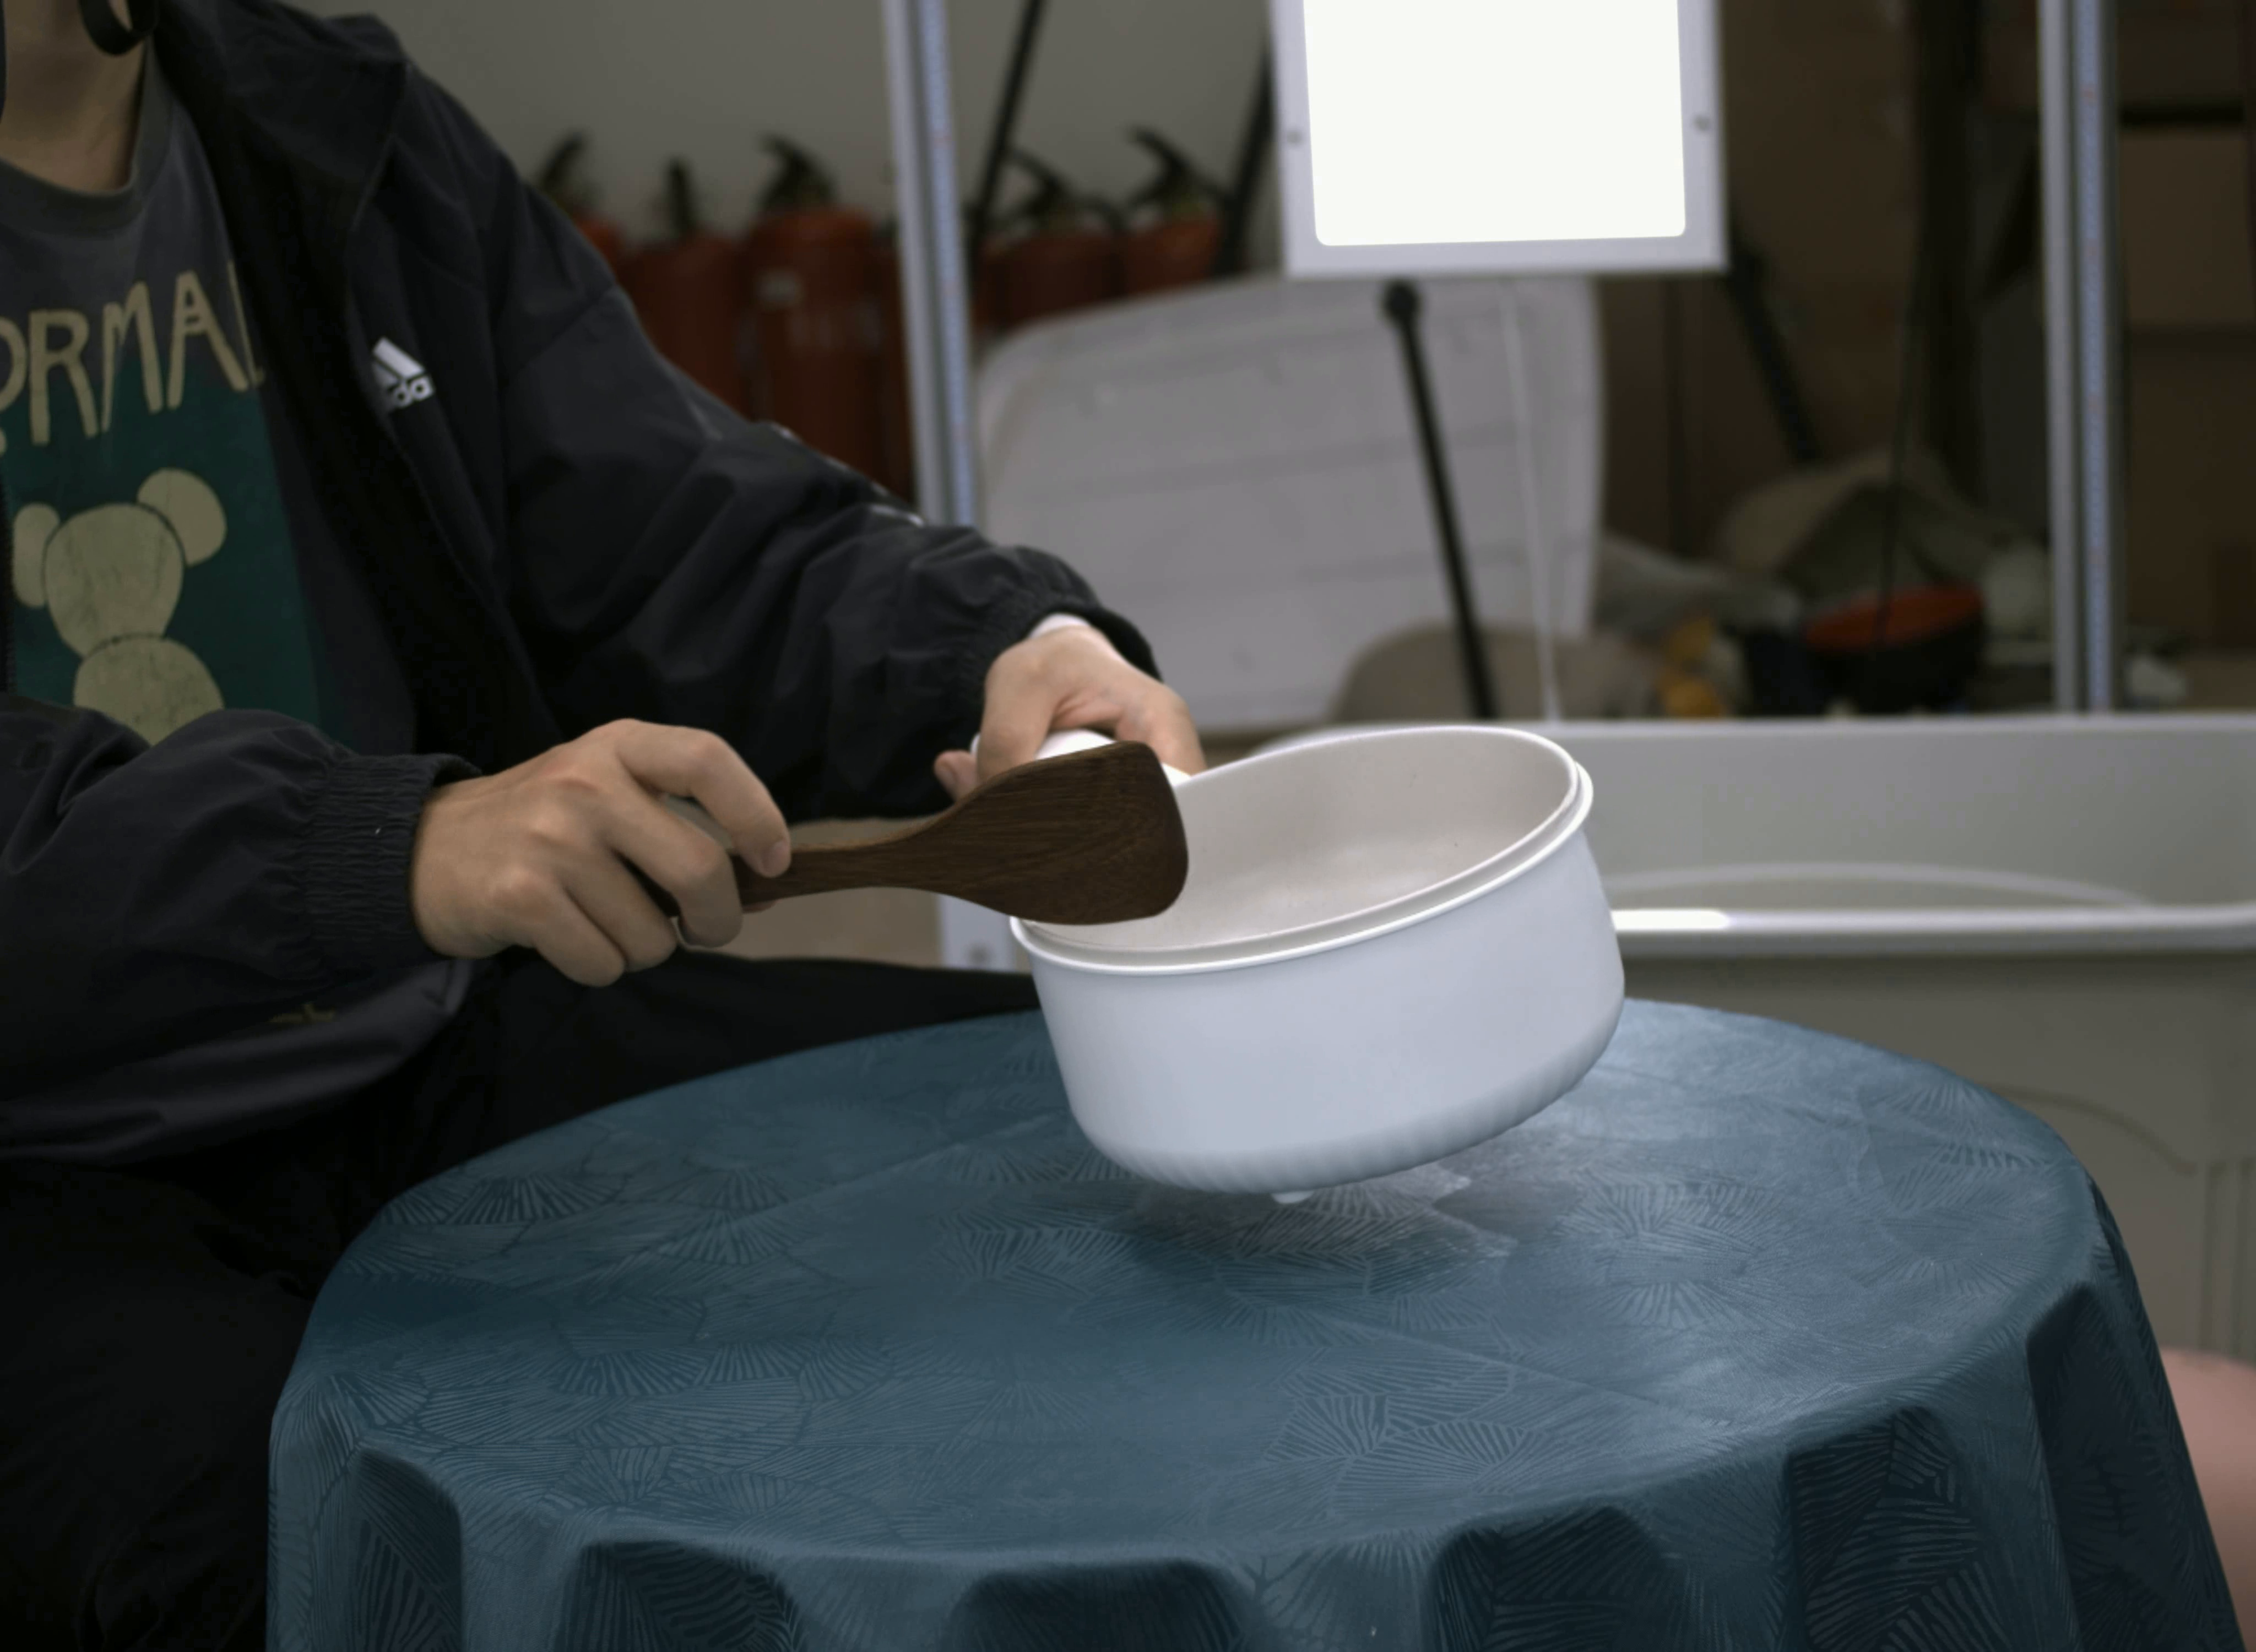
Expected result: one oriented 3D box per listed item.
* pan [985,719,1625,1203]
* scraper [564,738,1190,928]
[{"bbox_3d":[0.039,0.037,1.928,0.198,0.102,0.360,-22,17,-18],"label":"pan"},{"bbox_3d":[-0.085,0.010,1.821,0.213,0.076,0.011,-5,39,14],"label":"scraper"}]
